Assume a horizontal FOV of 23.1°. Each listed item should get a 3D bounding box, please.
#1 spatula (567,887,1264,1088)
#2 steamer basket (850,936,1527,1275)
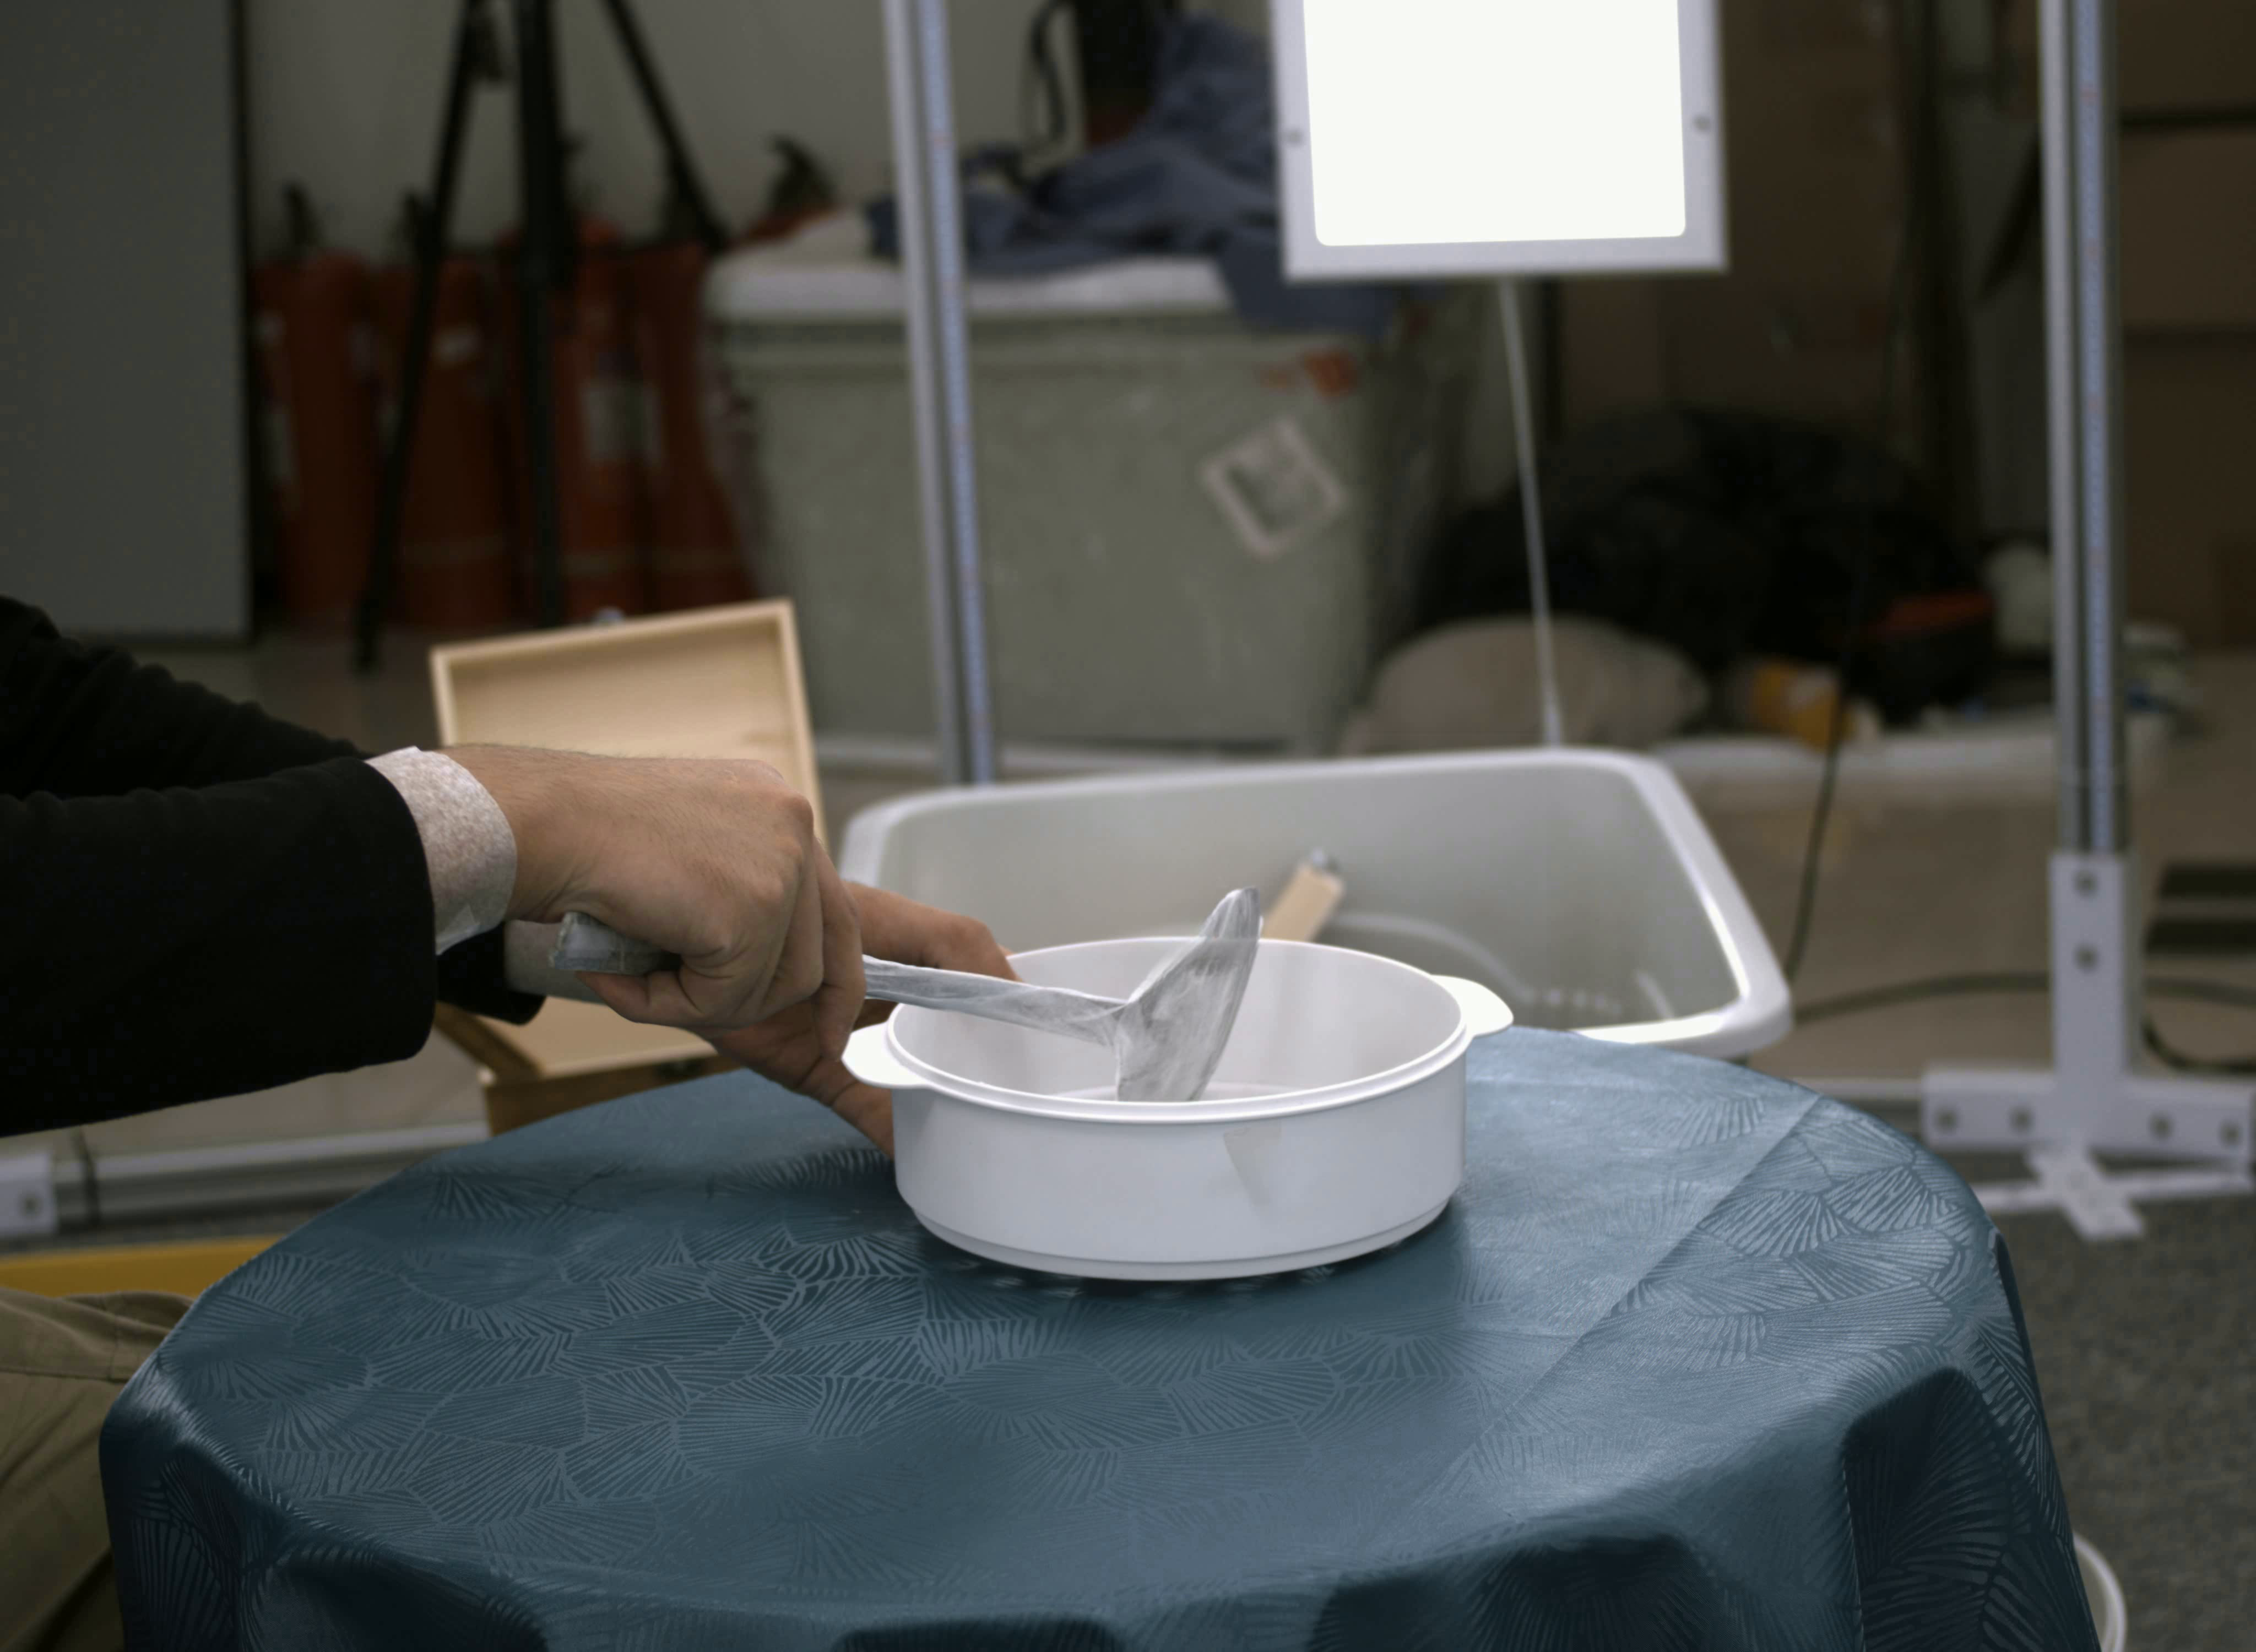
[{"bbox_3d":[-0.062,0.053,1.768,0.045,0.099,0.356,29,12,39],"label":"spatula"},{"bbox_3d":[0.022,0.094,1.863,0.228,0.069,0.203,-5,14,-10],"label":"steamer basket"}]
